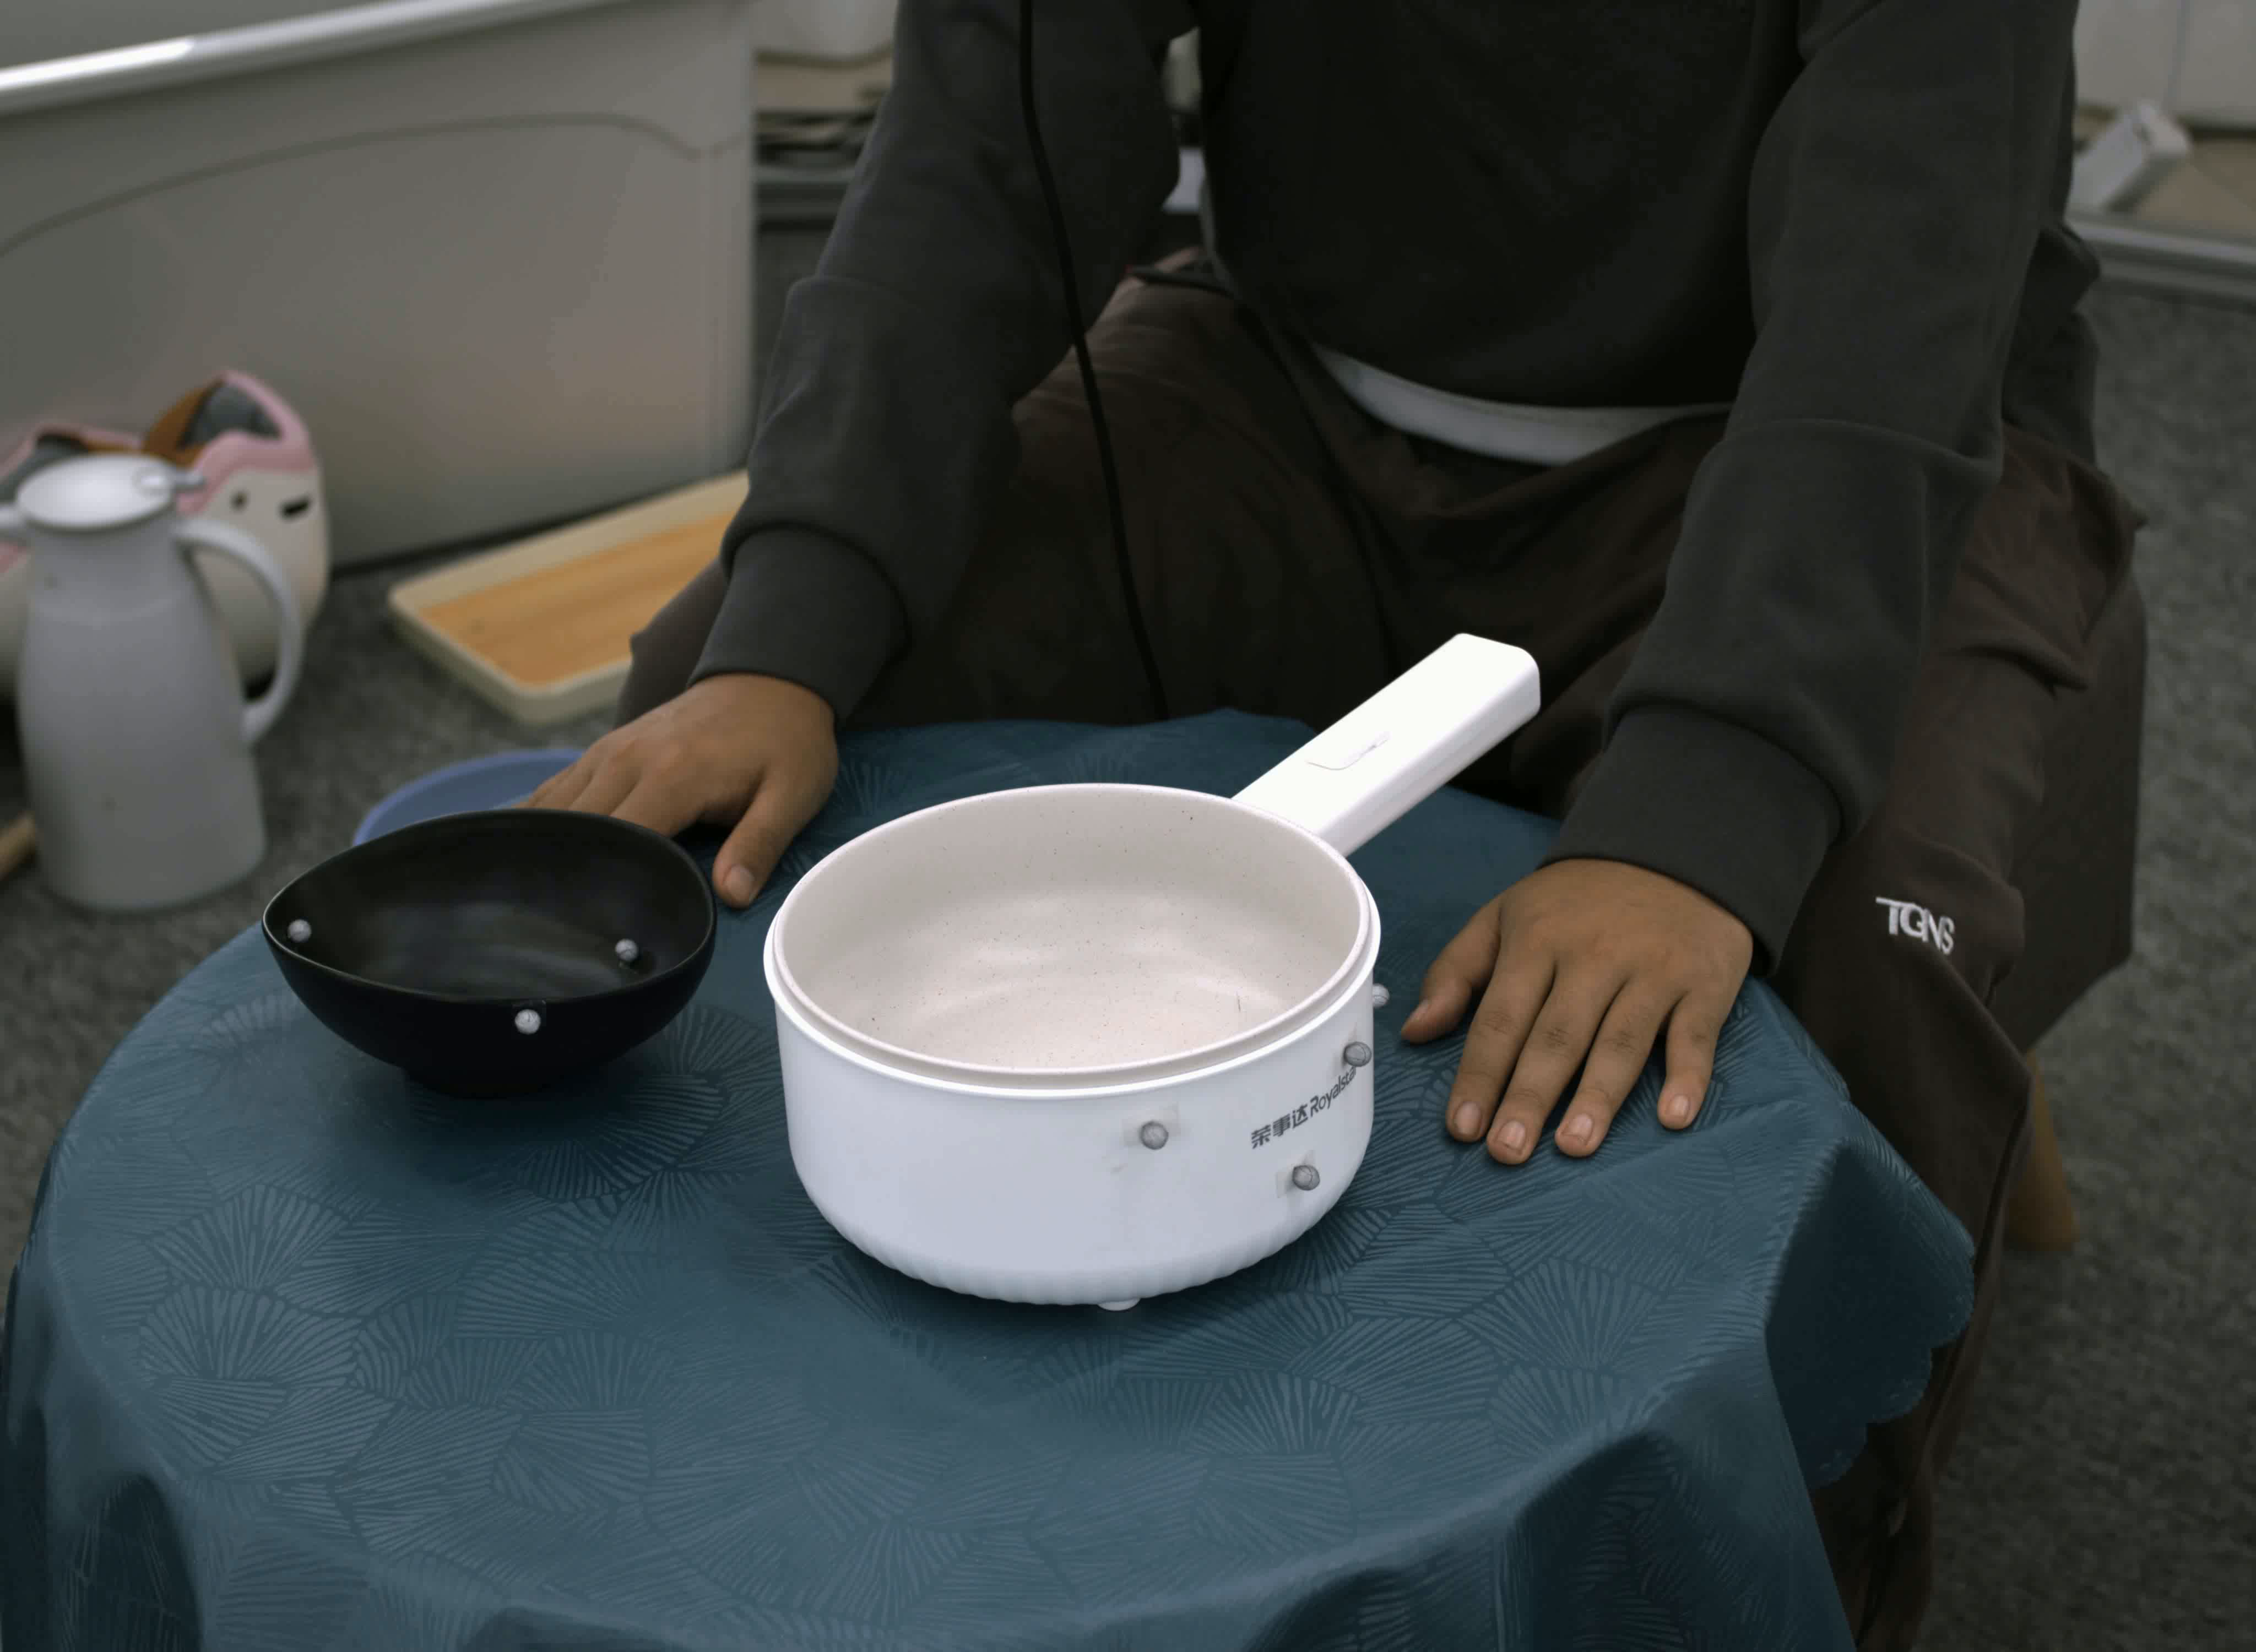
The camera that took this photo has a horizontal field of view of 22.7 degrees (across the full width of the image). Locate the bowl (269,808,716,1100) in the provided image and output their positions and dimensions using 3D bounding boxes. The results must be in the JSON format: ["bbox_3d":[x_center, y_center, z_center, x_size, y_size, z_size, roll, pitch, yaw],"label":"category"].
[{"bbox_3d":[-0.220,0.053,1.948,0.169,0.066,0.139,11,30,27],"label":"bowl"}]

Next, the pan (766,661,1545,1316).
[{"bbox_3d":[0.029,0.050,1.905,0.200,0.101,0.360,14,30,33],"label":"pan"}]
